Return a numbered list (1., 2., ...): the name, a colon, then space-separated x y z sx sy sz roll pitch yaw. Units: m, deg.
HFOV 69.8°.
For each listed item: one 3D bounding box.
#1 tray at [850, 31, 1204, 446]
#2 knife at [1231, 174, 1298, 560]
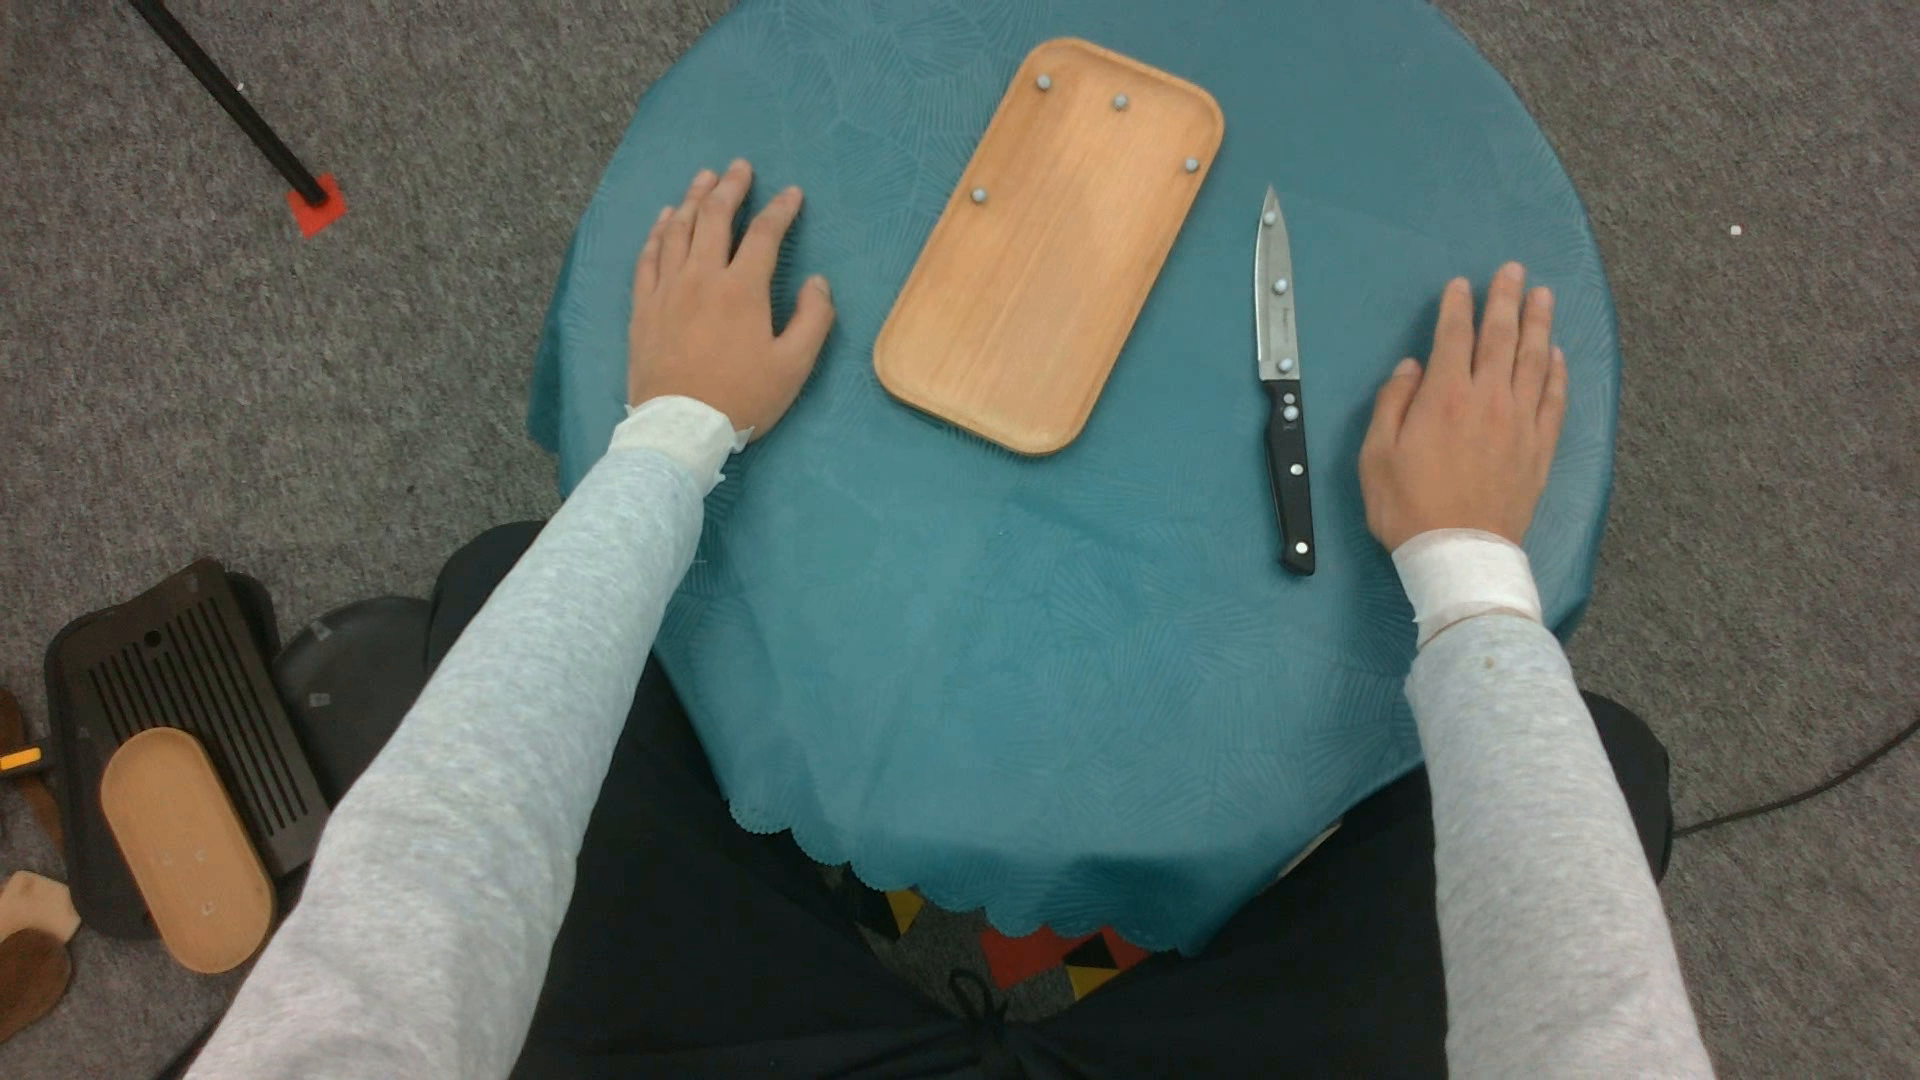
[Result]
1. tray: 0.041 -0.176 0.790 0.130 0.023 0.251 24 76 10
2. knife: 0.170 -0.103 0.772 0.024 0.016 0.239 -1 71 -1
